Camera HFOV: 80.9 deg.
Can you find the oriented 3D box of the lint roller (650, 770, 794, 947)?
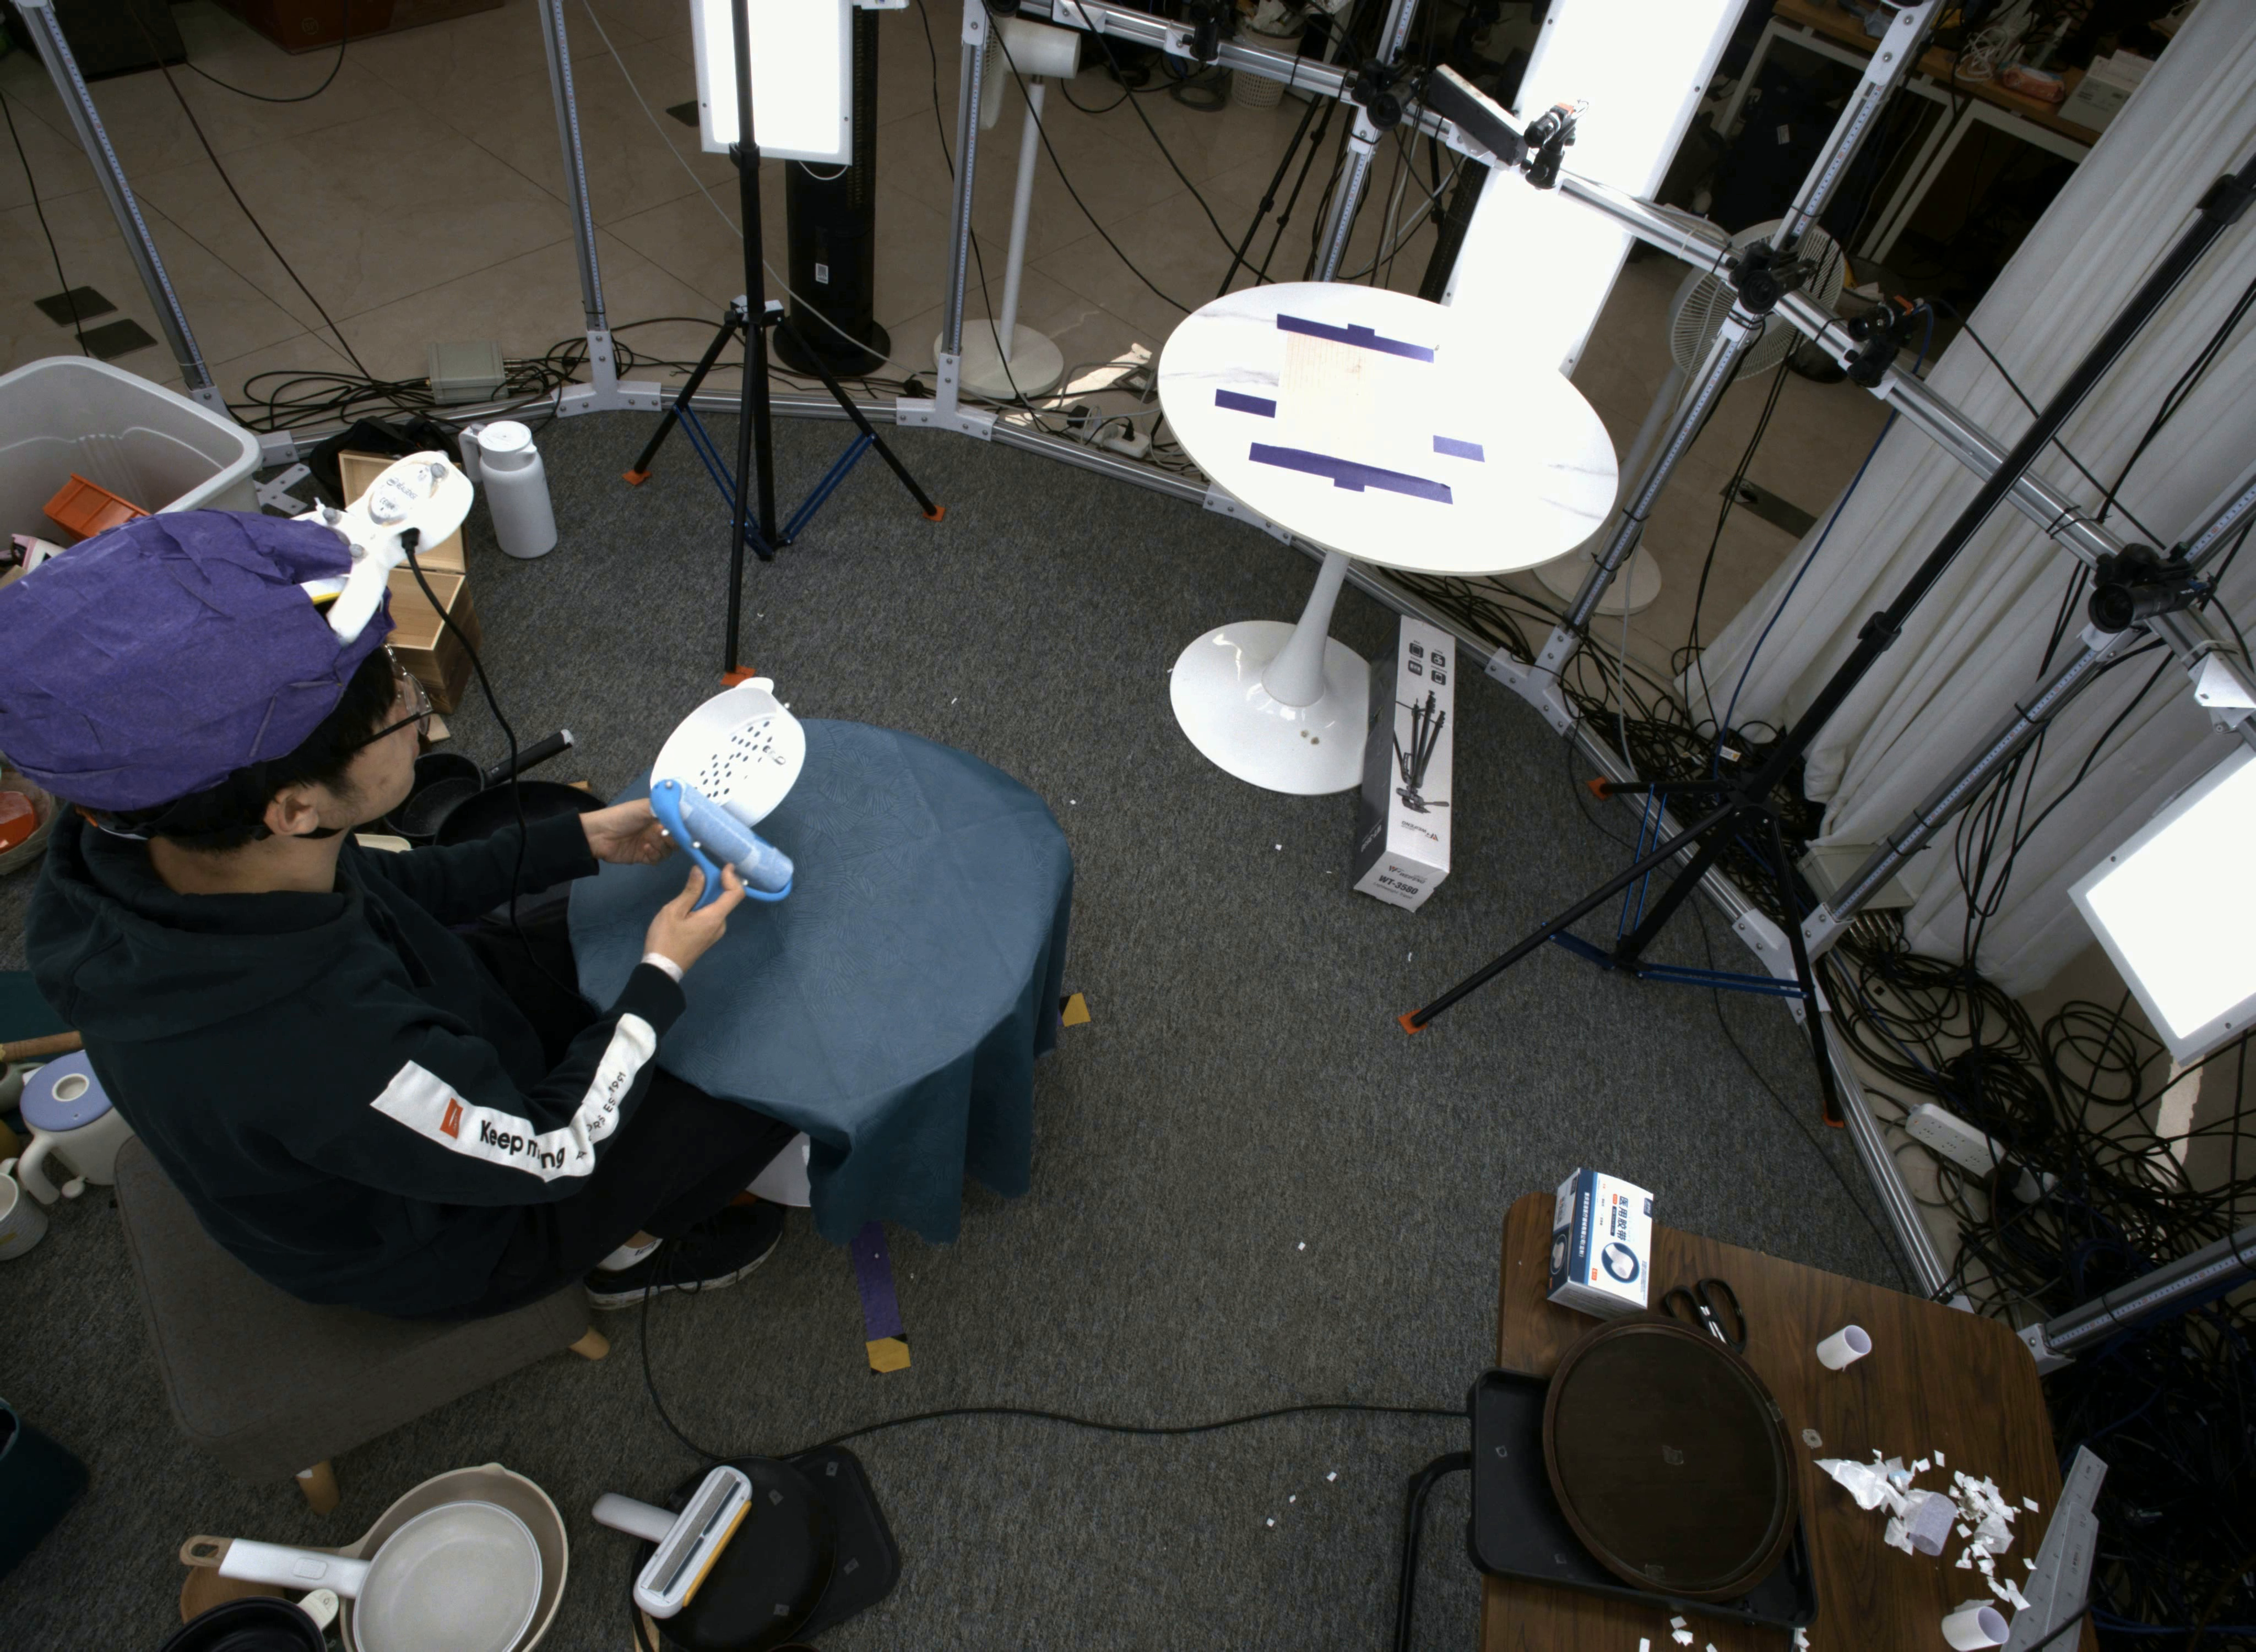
[{"bbox_3d":[-0.493,0.059,1.506,0.065,0.237,0.180,7,69,31],"label":"lint roller"}]

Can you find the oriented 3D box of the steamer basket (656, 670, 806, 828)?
[{"bbox_3d":[-0.493,-0.083,1.607,0.195,0.072,0.230,4,61,34],"label":"steamer basket"}]
